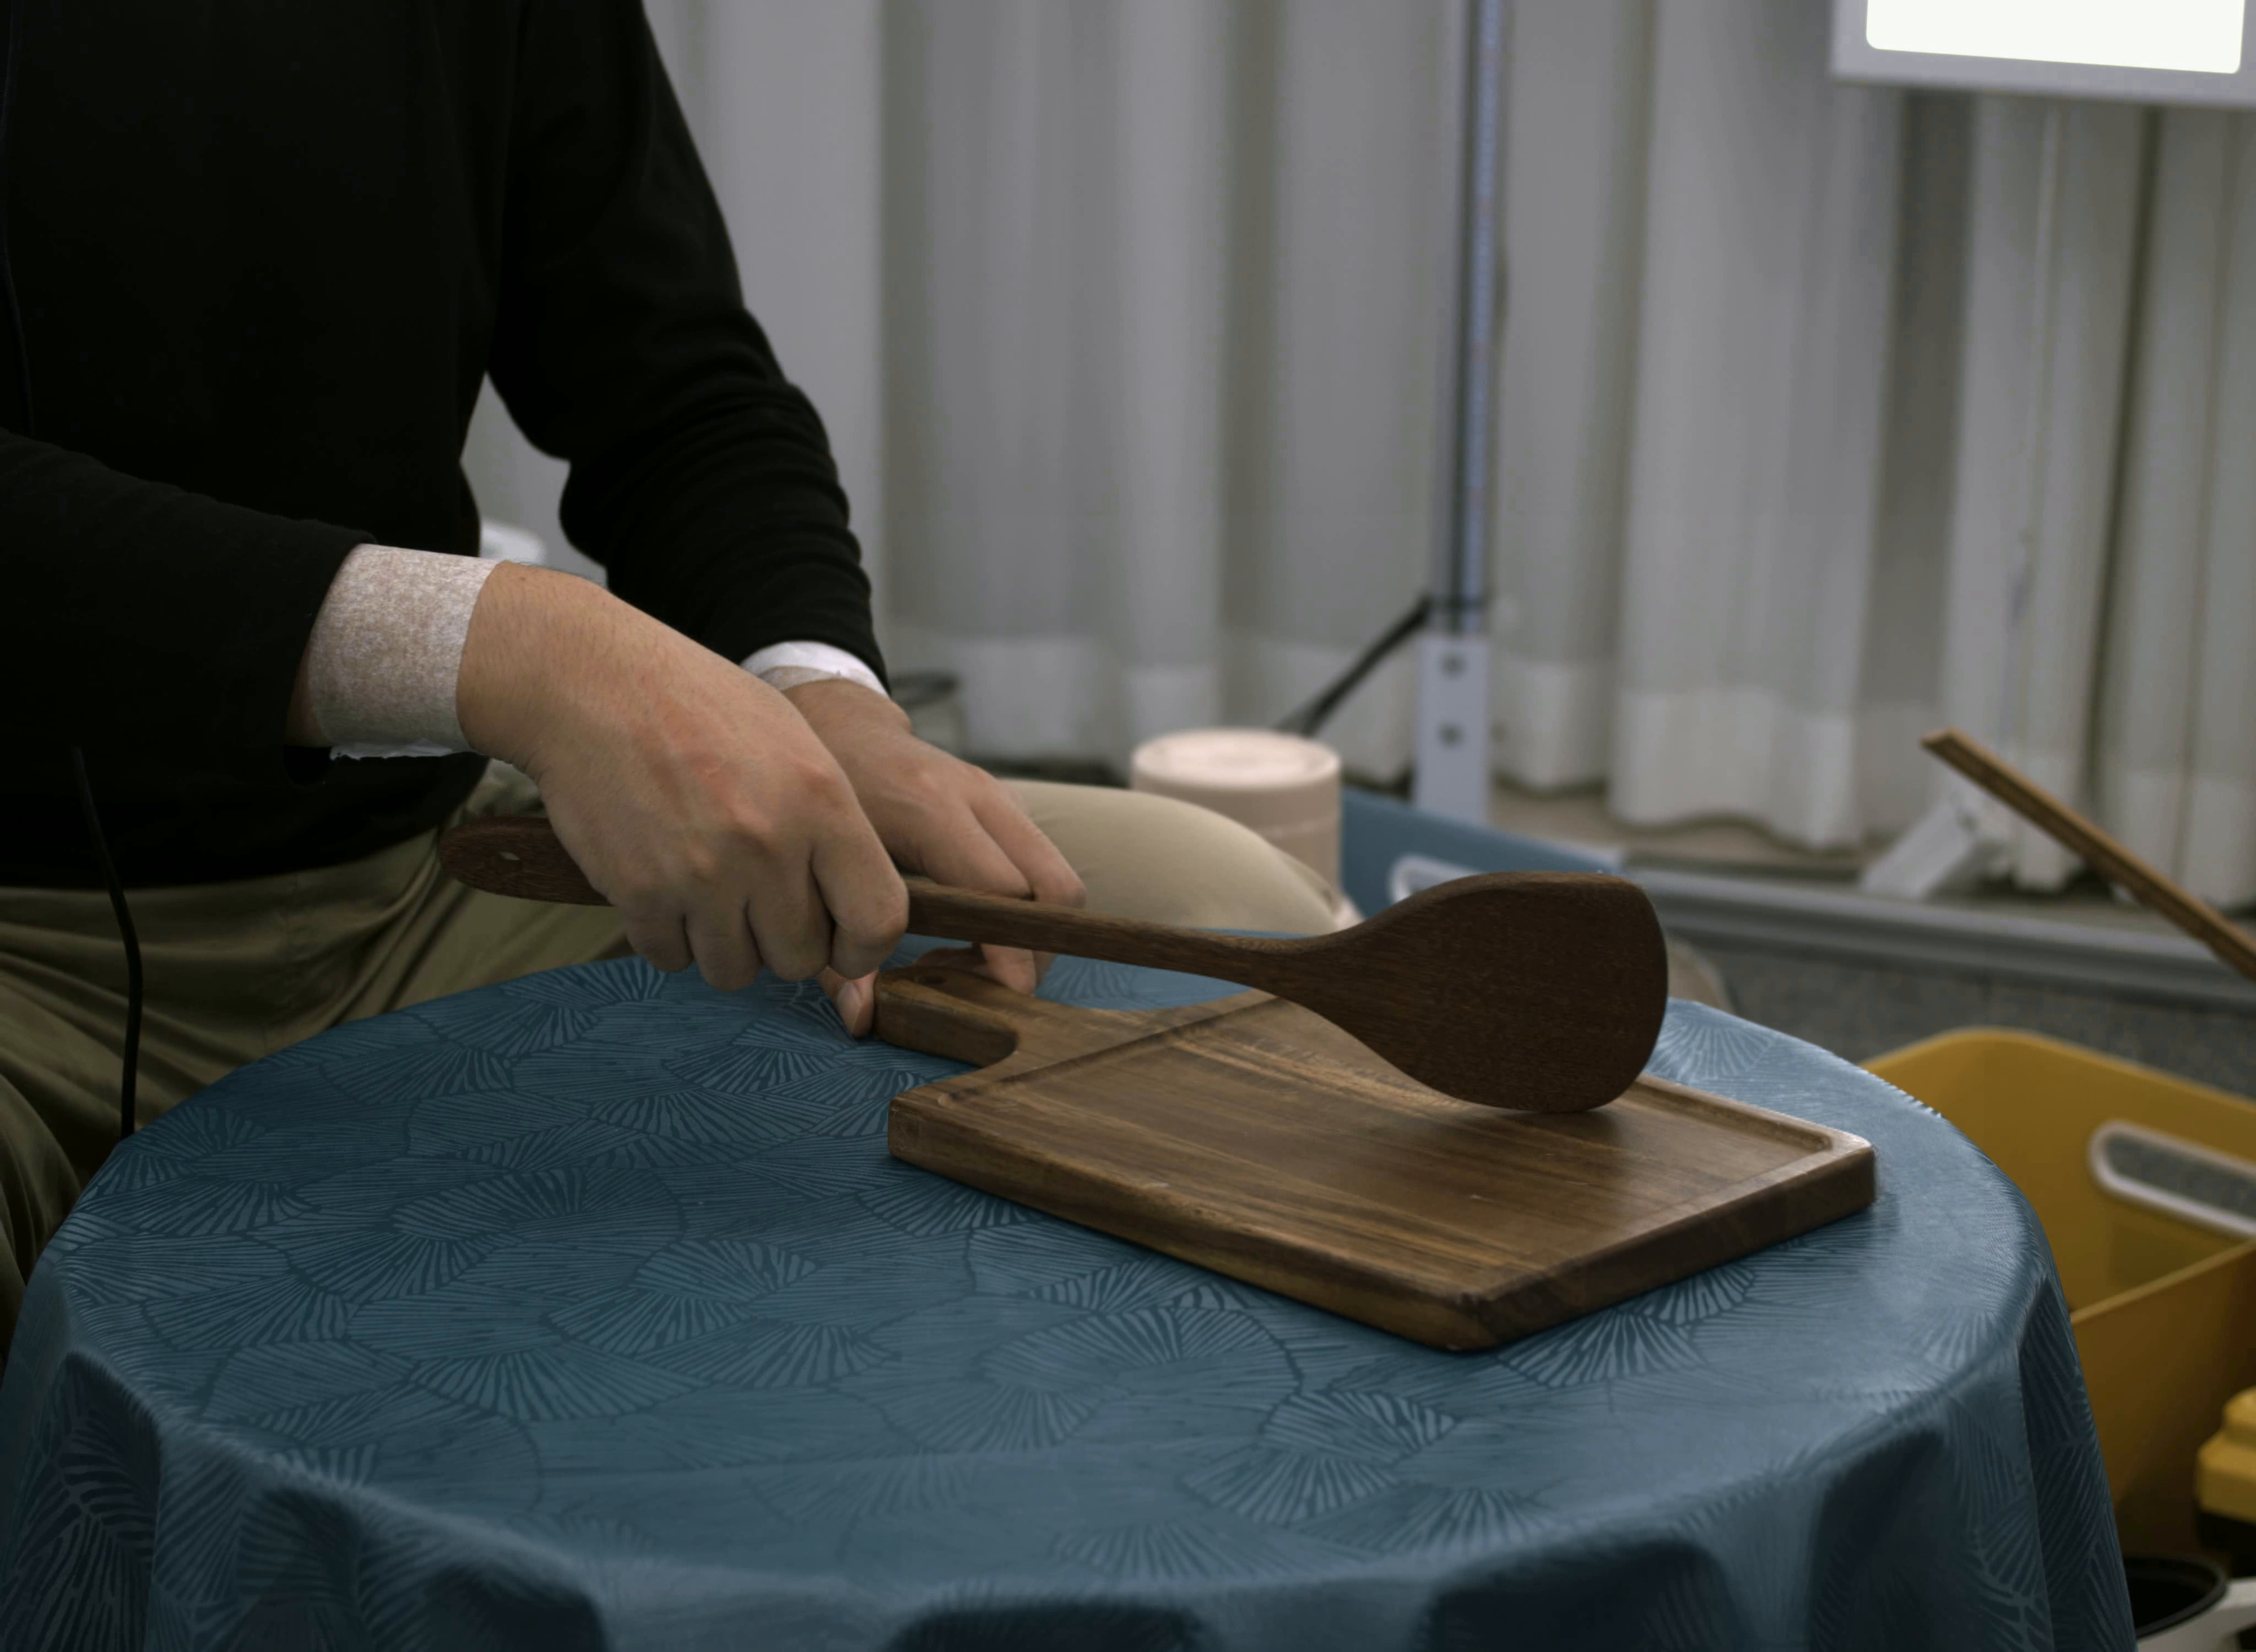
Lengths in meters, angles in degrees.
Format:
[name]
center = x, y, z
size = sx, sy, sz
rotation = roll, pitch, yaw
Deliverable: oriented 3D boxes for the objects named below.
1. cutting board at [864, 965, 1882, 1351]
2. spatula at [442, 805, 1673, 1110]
[cutting board]
center = 0.043, 0.090, 1.663
size = 0.347, 0.023, 0.202
rotation = 15, 21, 42
[spatula]
center = -0.023, 0.030, 1.630
size = 0.384, 0.097, 0.015
rotation = 8, 38, 4
